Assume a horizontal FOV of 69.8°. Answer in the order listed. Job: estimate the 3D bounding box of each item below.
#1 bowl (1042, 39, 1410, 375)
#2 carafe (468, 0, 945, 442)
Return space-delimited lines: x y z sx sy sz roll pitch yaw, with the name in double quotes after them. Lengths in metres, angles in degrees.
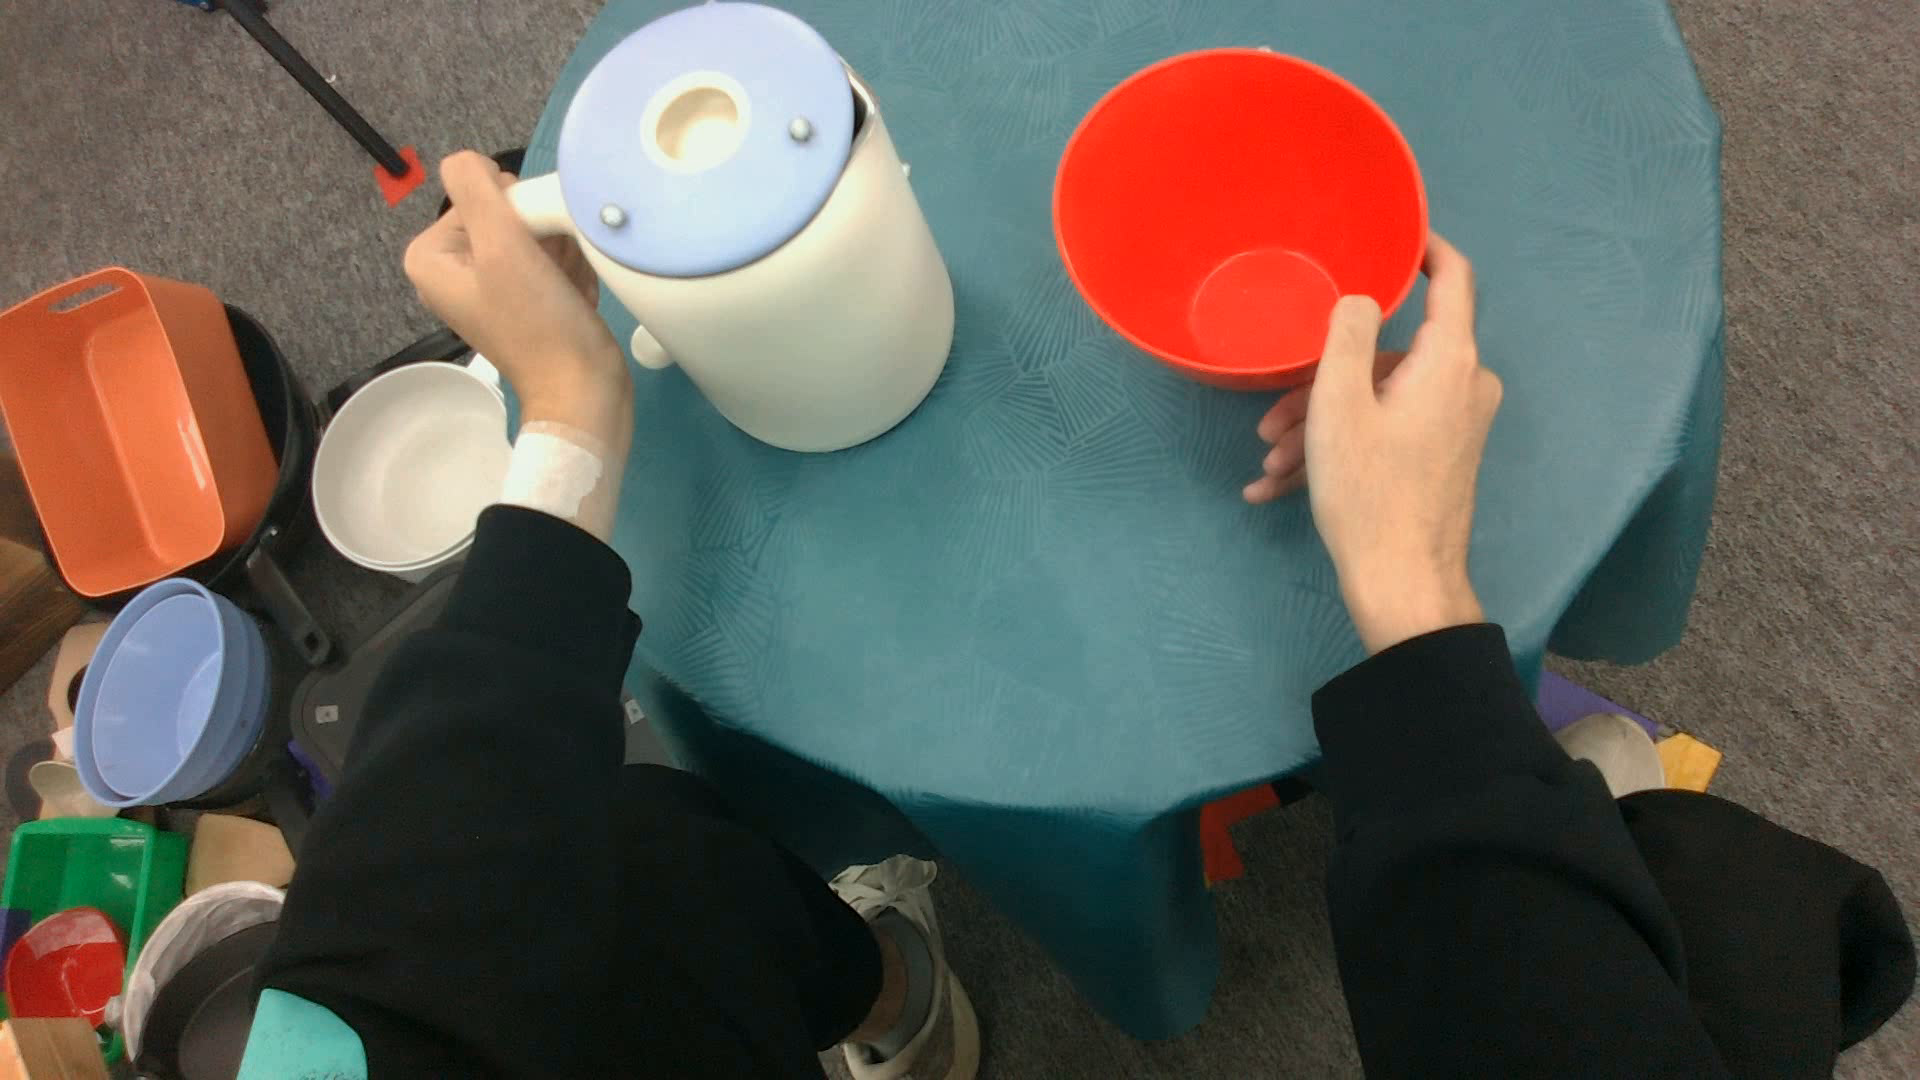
0.116 -0.129 0.598 0.148 0.104 0.148 -4 70 11 "bowl"
-0.110 -0.128 0.604 0.191 0.182 0.132 -11 69 10 "carafe"
